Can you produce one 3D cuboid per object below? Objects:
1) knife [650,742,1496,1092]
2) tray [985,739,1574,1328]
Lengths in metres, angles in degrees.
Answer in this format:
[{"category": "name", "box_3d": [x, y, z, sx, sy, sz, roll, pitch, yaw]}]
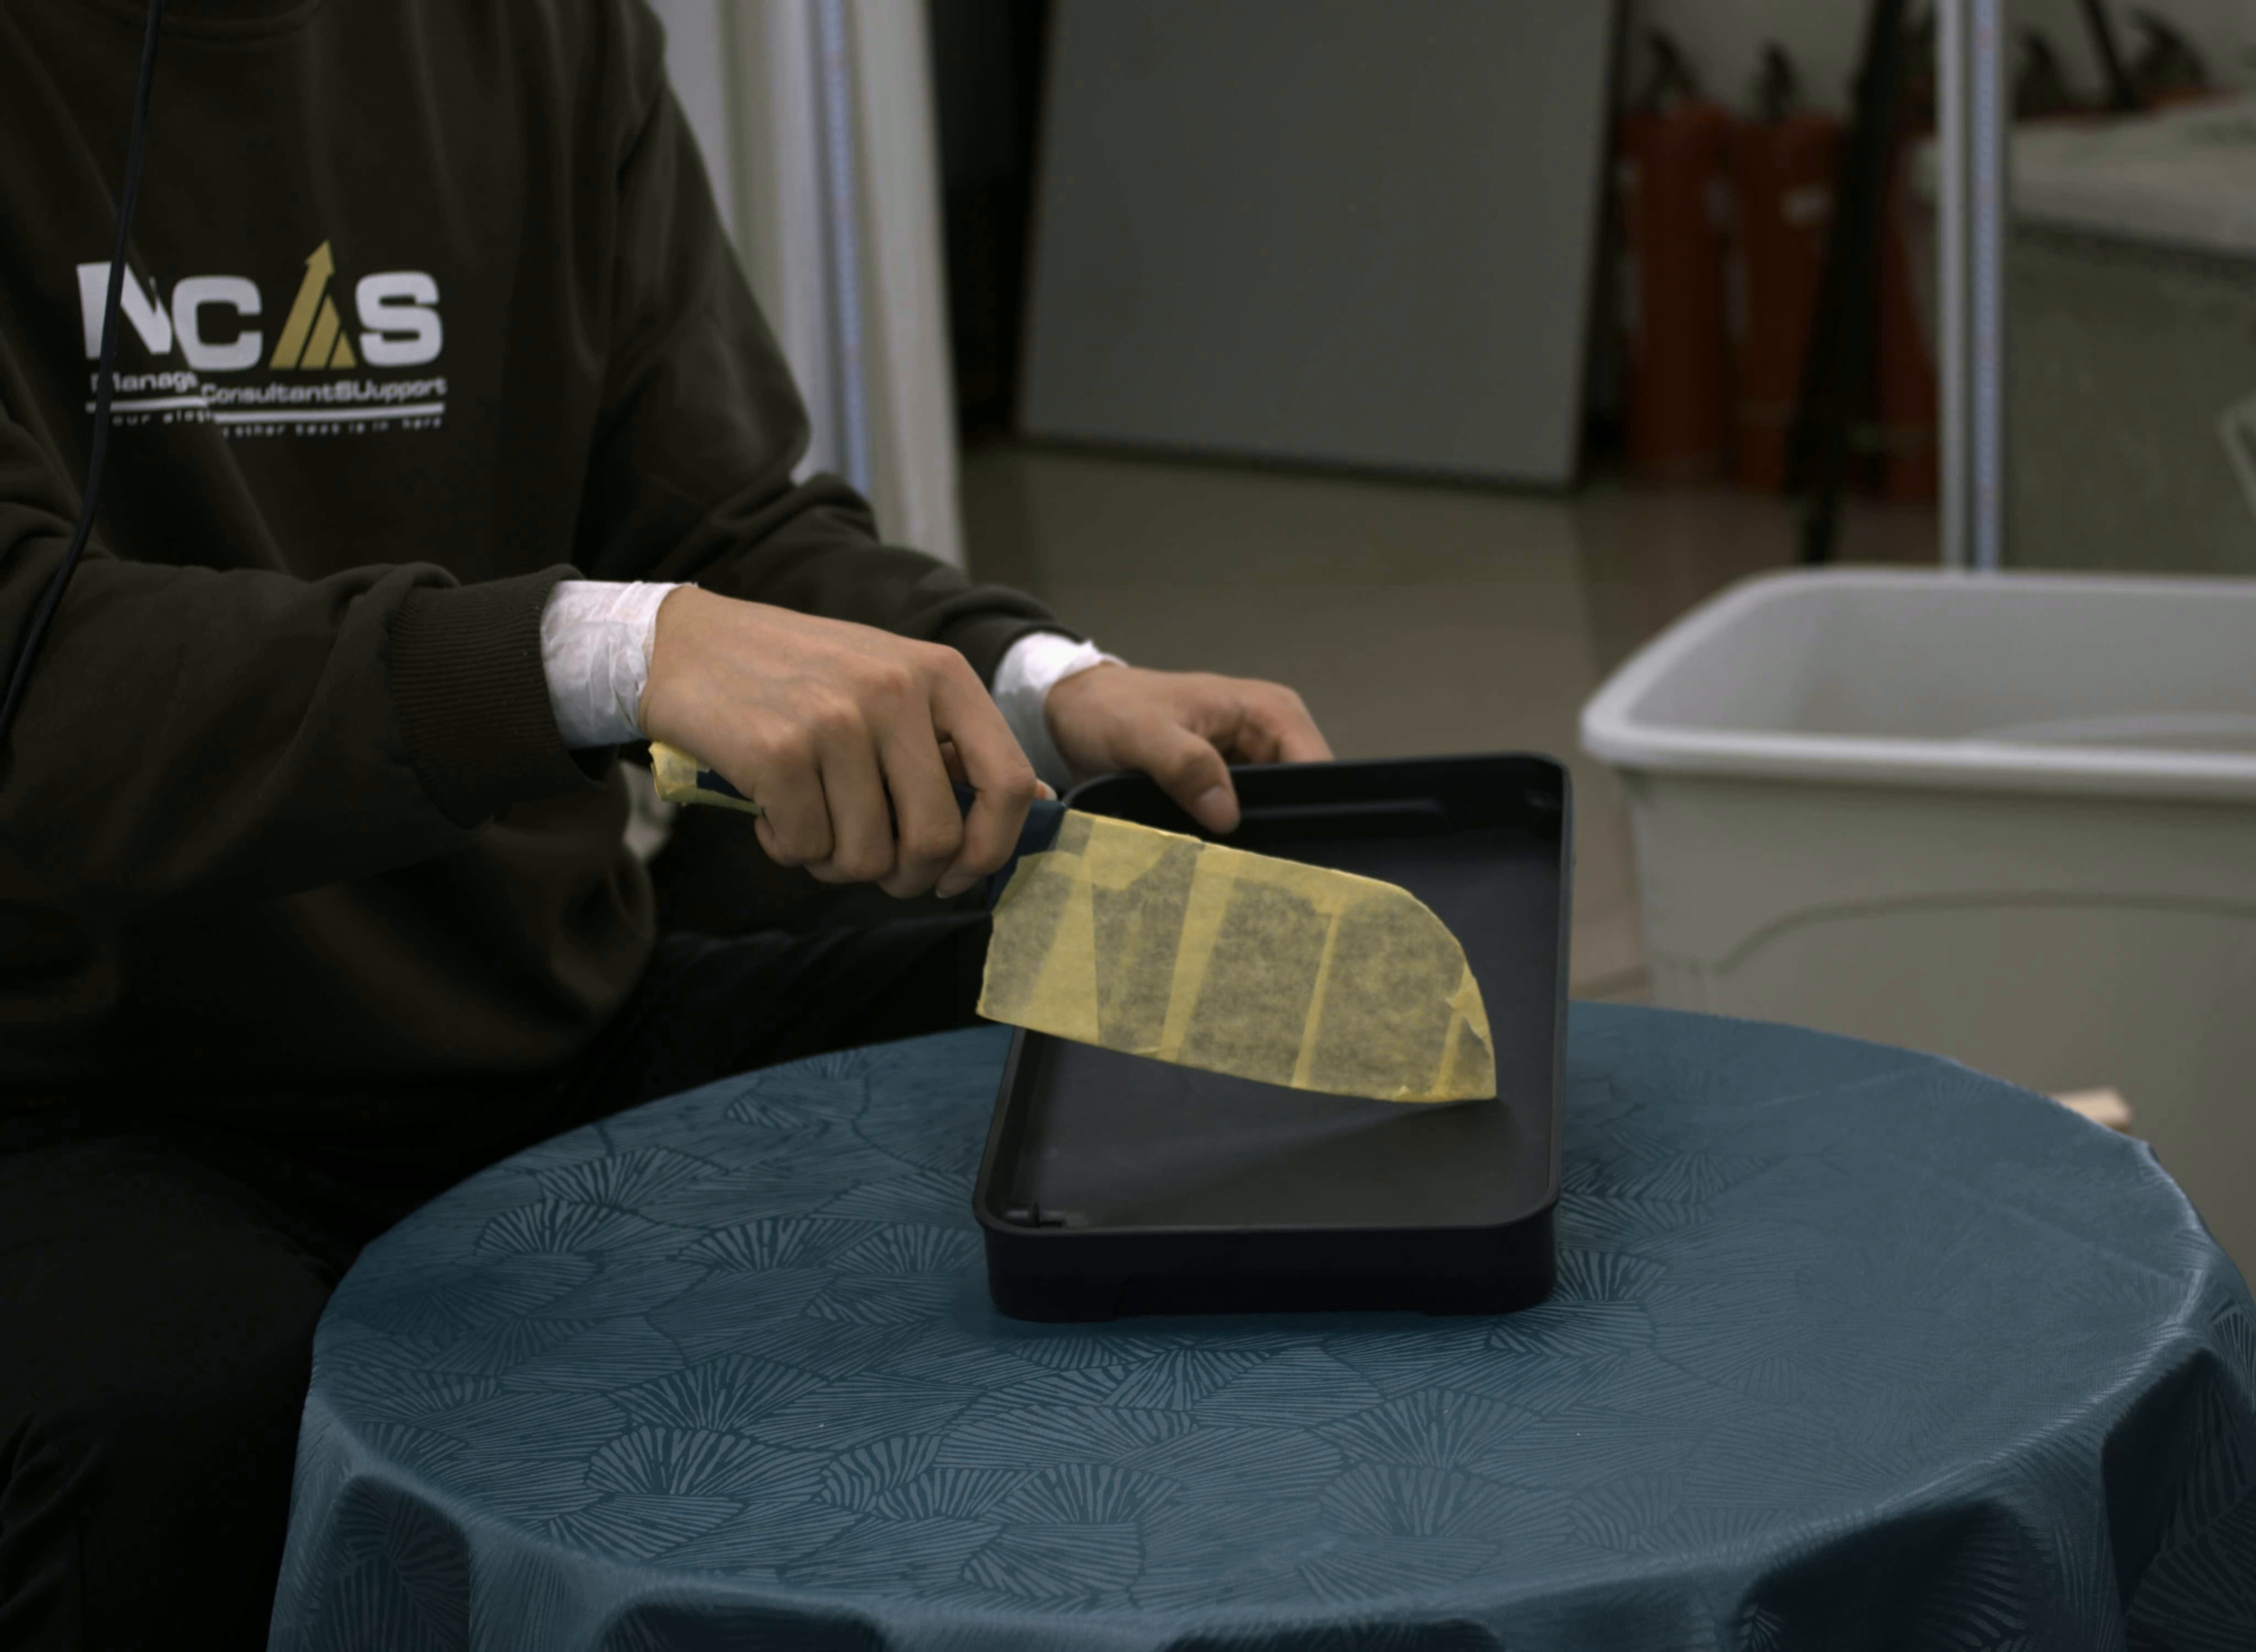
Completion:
[{"category": "knife", "box_3d": [-0.018, 0.029, 1.733, 0.286, 0.082, 0.027, 16, -3, -1]}, {"category": "tray", "box_3d": [0.056, 0.063, 1.776, 0.182, 0.037, 0.318, -5, 27, 7]}]
